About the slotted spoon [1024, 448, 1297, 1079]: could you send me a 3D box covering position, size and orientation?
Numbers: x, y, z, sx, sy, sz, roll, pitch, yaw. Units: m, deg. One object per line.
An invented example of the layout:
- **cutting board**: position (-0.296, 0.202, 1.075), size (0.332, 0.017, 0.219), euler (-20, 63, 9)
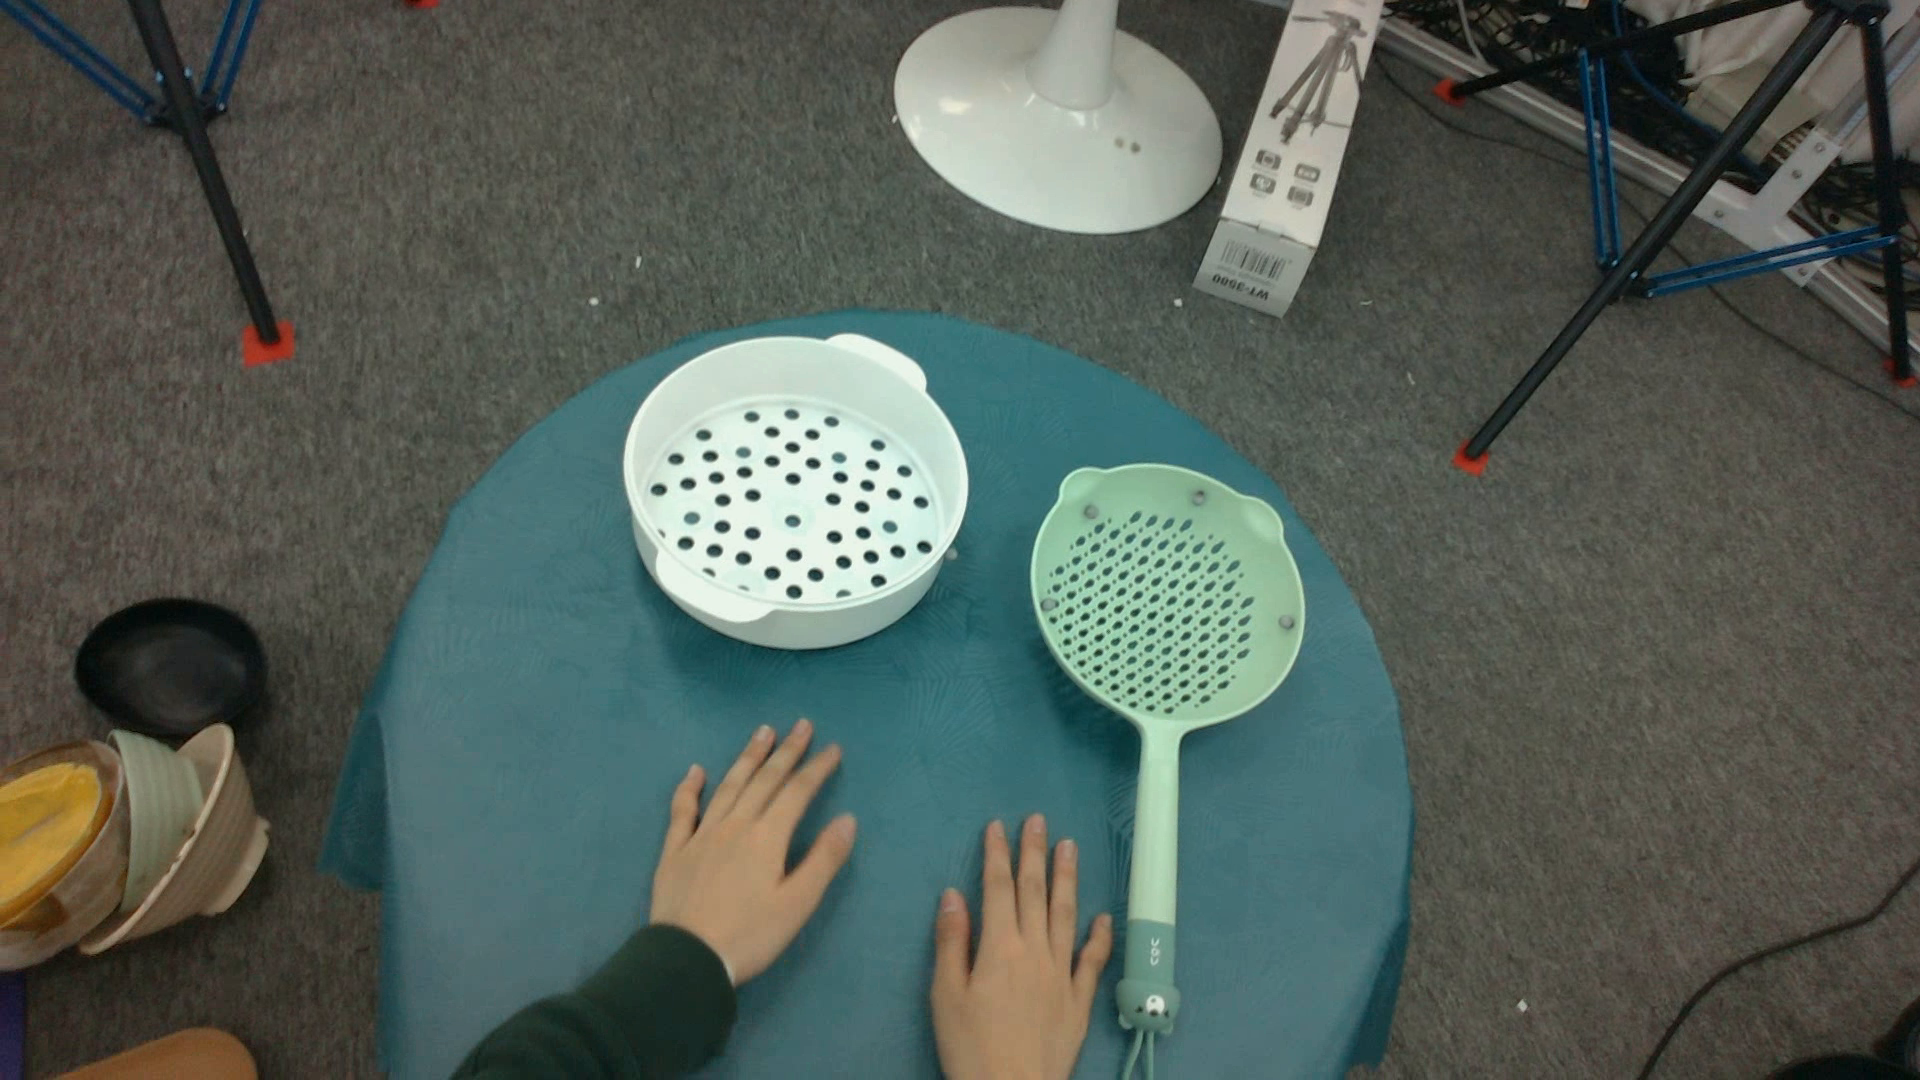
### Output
- **slotted spoon**: position (0.106, 0.112, 0.783), size (0.169, 0.075, 0.360), euler (10, 56, -6)

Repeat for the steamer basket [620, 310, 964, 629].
- **steamer basket**: position (-0.101, -0.041, 0.833), size (0.202, 0.069, 0.232), euler (26, 55, 6)
